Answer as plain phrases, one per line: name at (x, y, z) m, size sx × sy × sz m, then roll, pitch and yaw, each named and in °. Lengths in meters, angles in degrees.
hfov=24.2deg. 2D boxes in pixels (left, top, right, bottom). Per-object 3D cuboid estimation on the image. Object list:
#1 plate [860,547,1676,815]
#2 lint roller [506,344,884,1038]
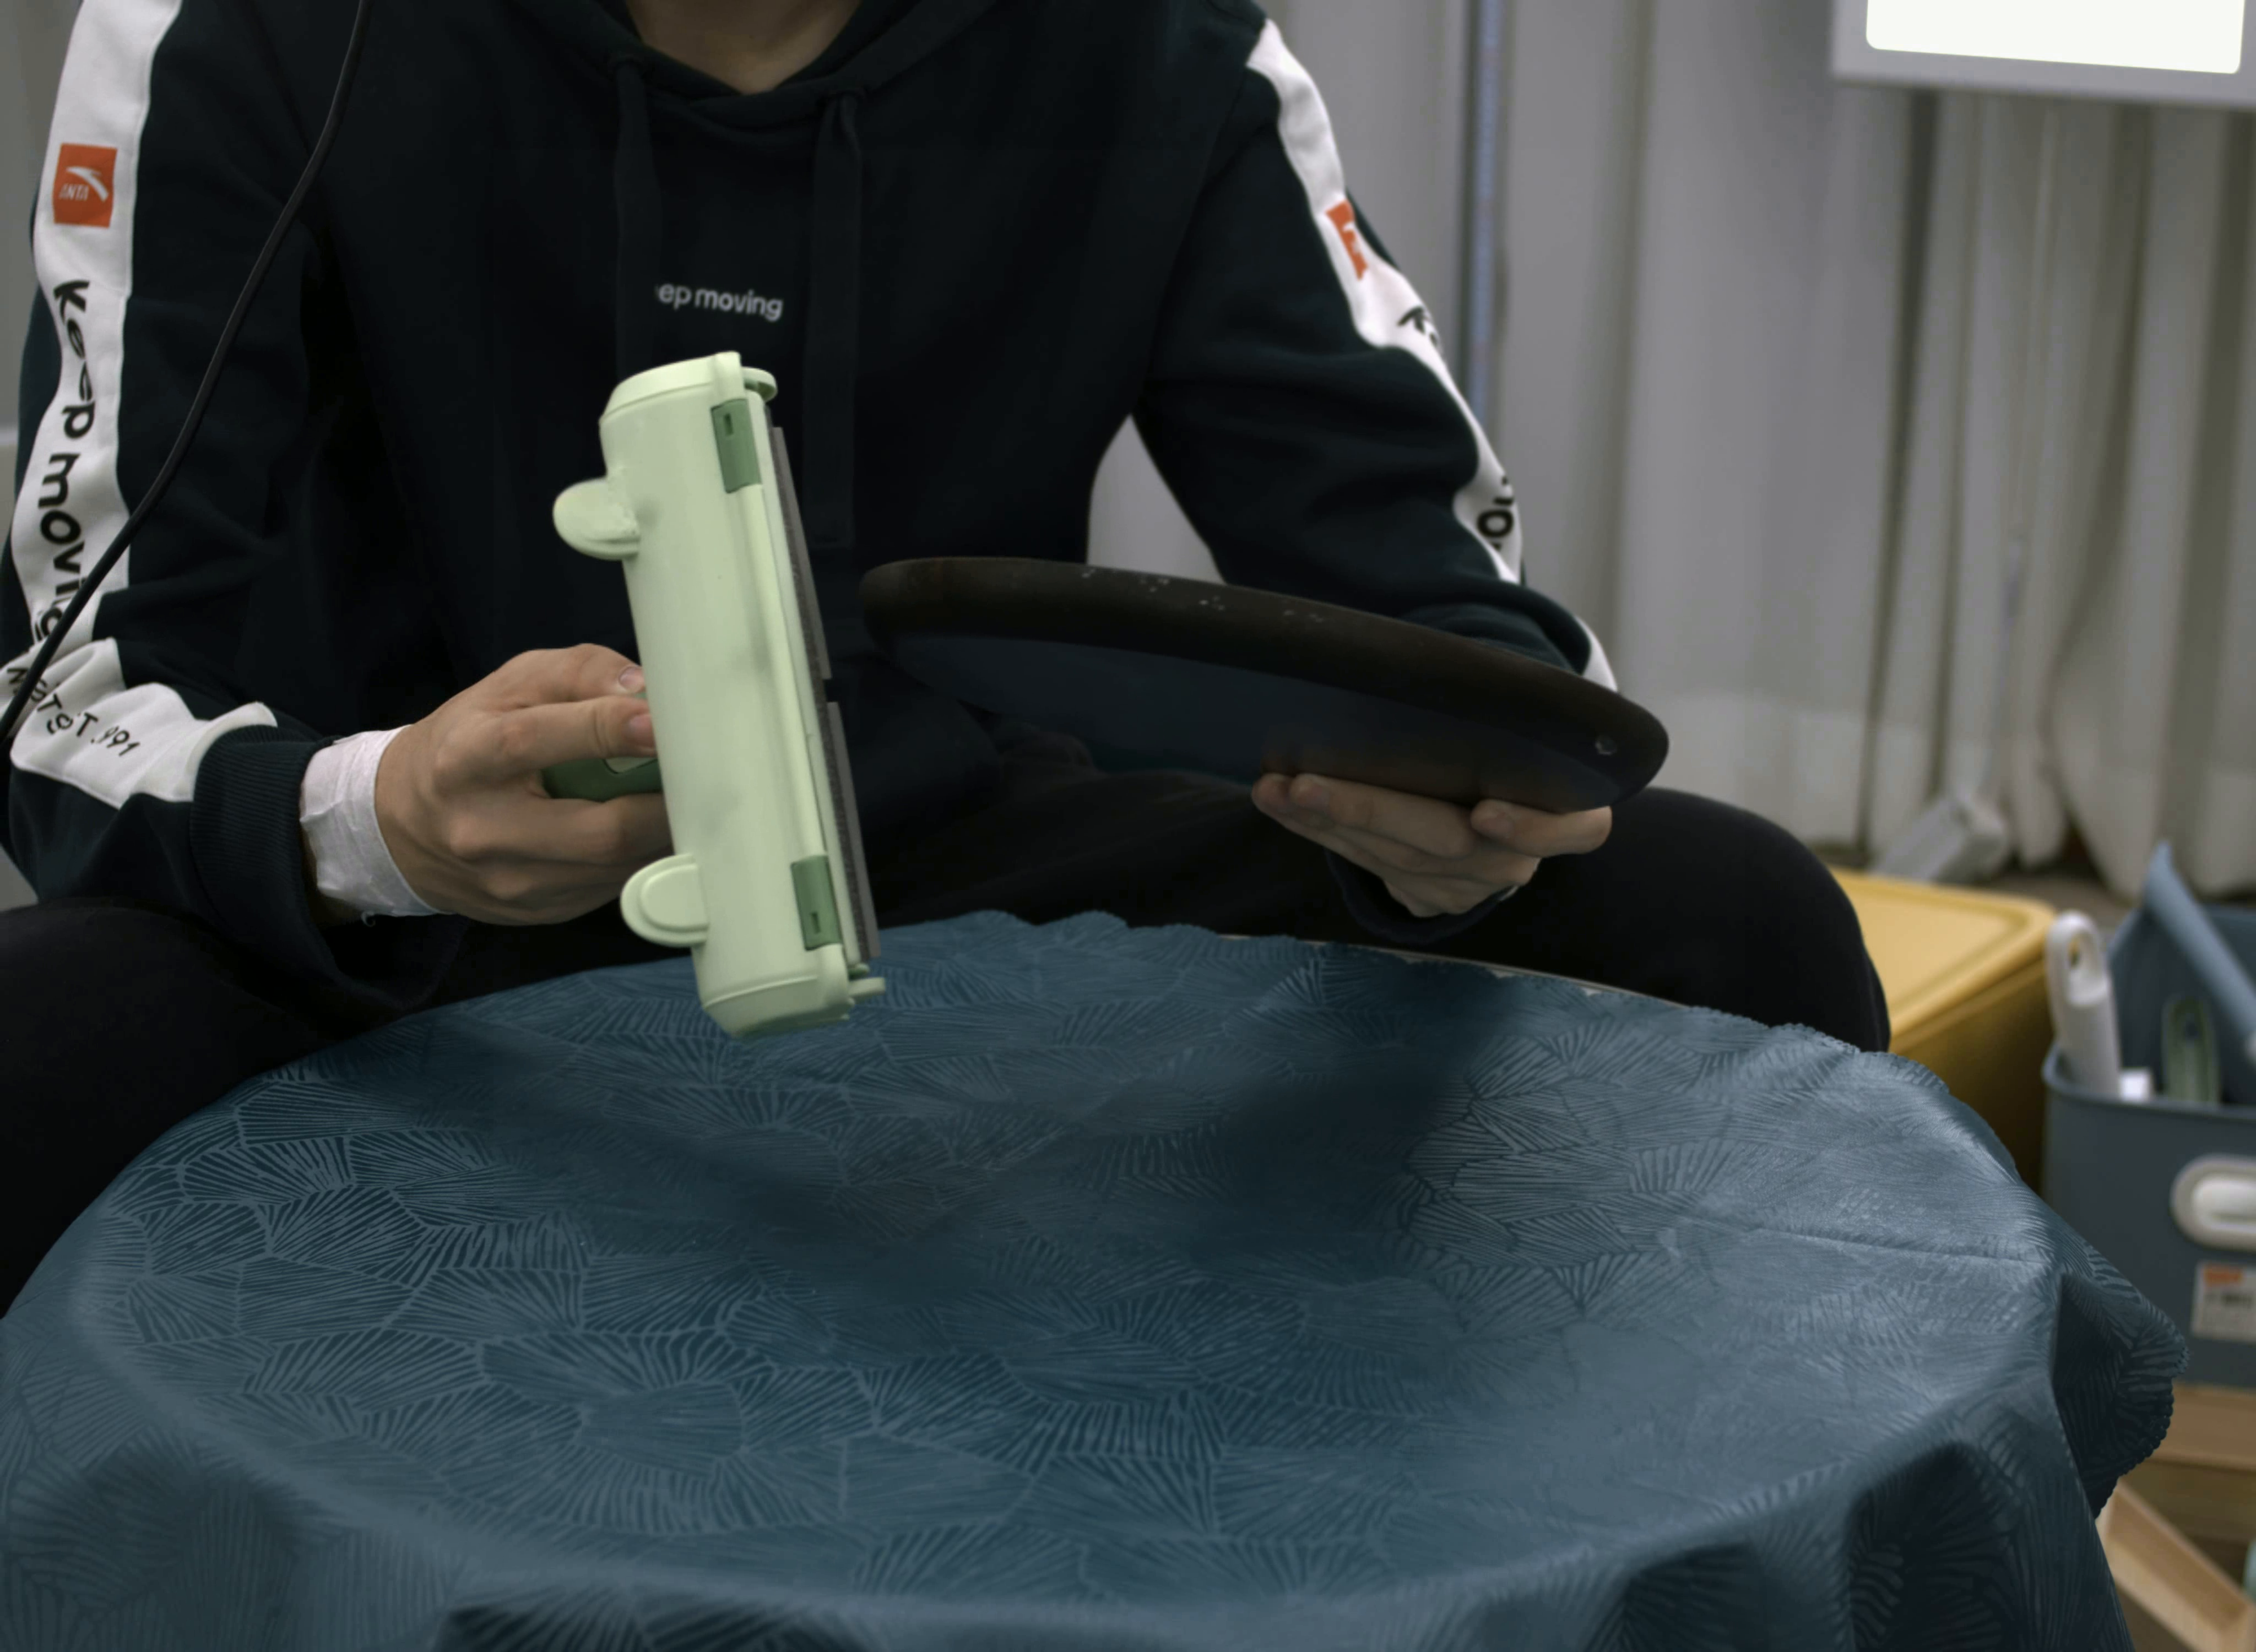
plate at (0.041, -0.042, 1.600) m, size 0.254 × 0.029 × 0.255 m, roll 10°, pitch -7°, yaw 2°
lint roller at (-0.154, -0.026, 1.562) m, size 0.083 × 0.198 × 0.182 m, roll -5°, pitch -9°, yaw -42°
